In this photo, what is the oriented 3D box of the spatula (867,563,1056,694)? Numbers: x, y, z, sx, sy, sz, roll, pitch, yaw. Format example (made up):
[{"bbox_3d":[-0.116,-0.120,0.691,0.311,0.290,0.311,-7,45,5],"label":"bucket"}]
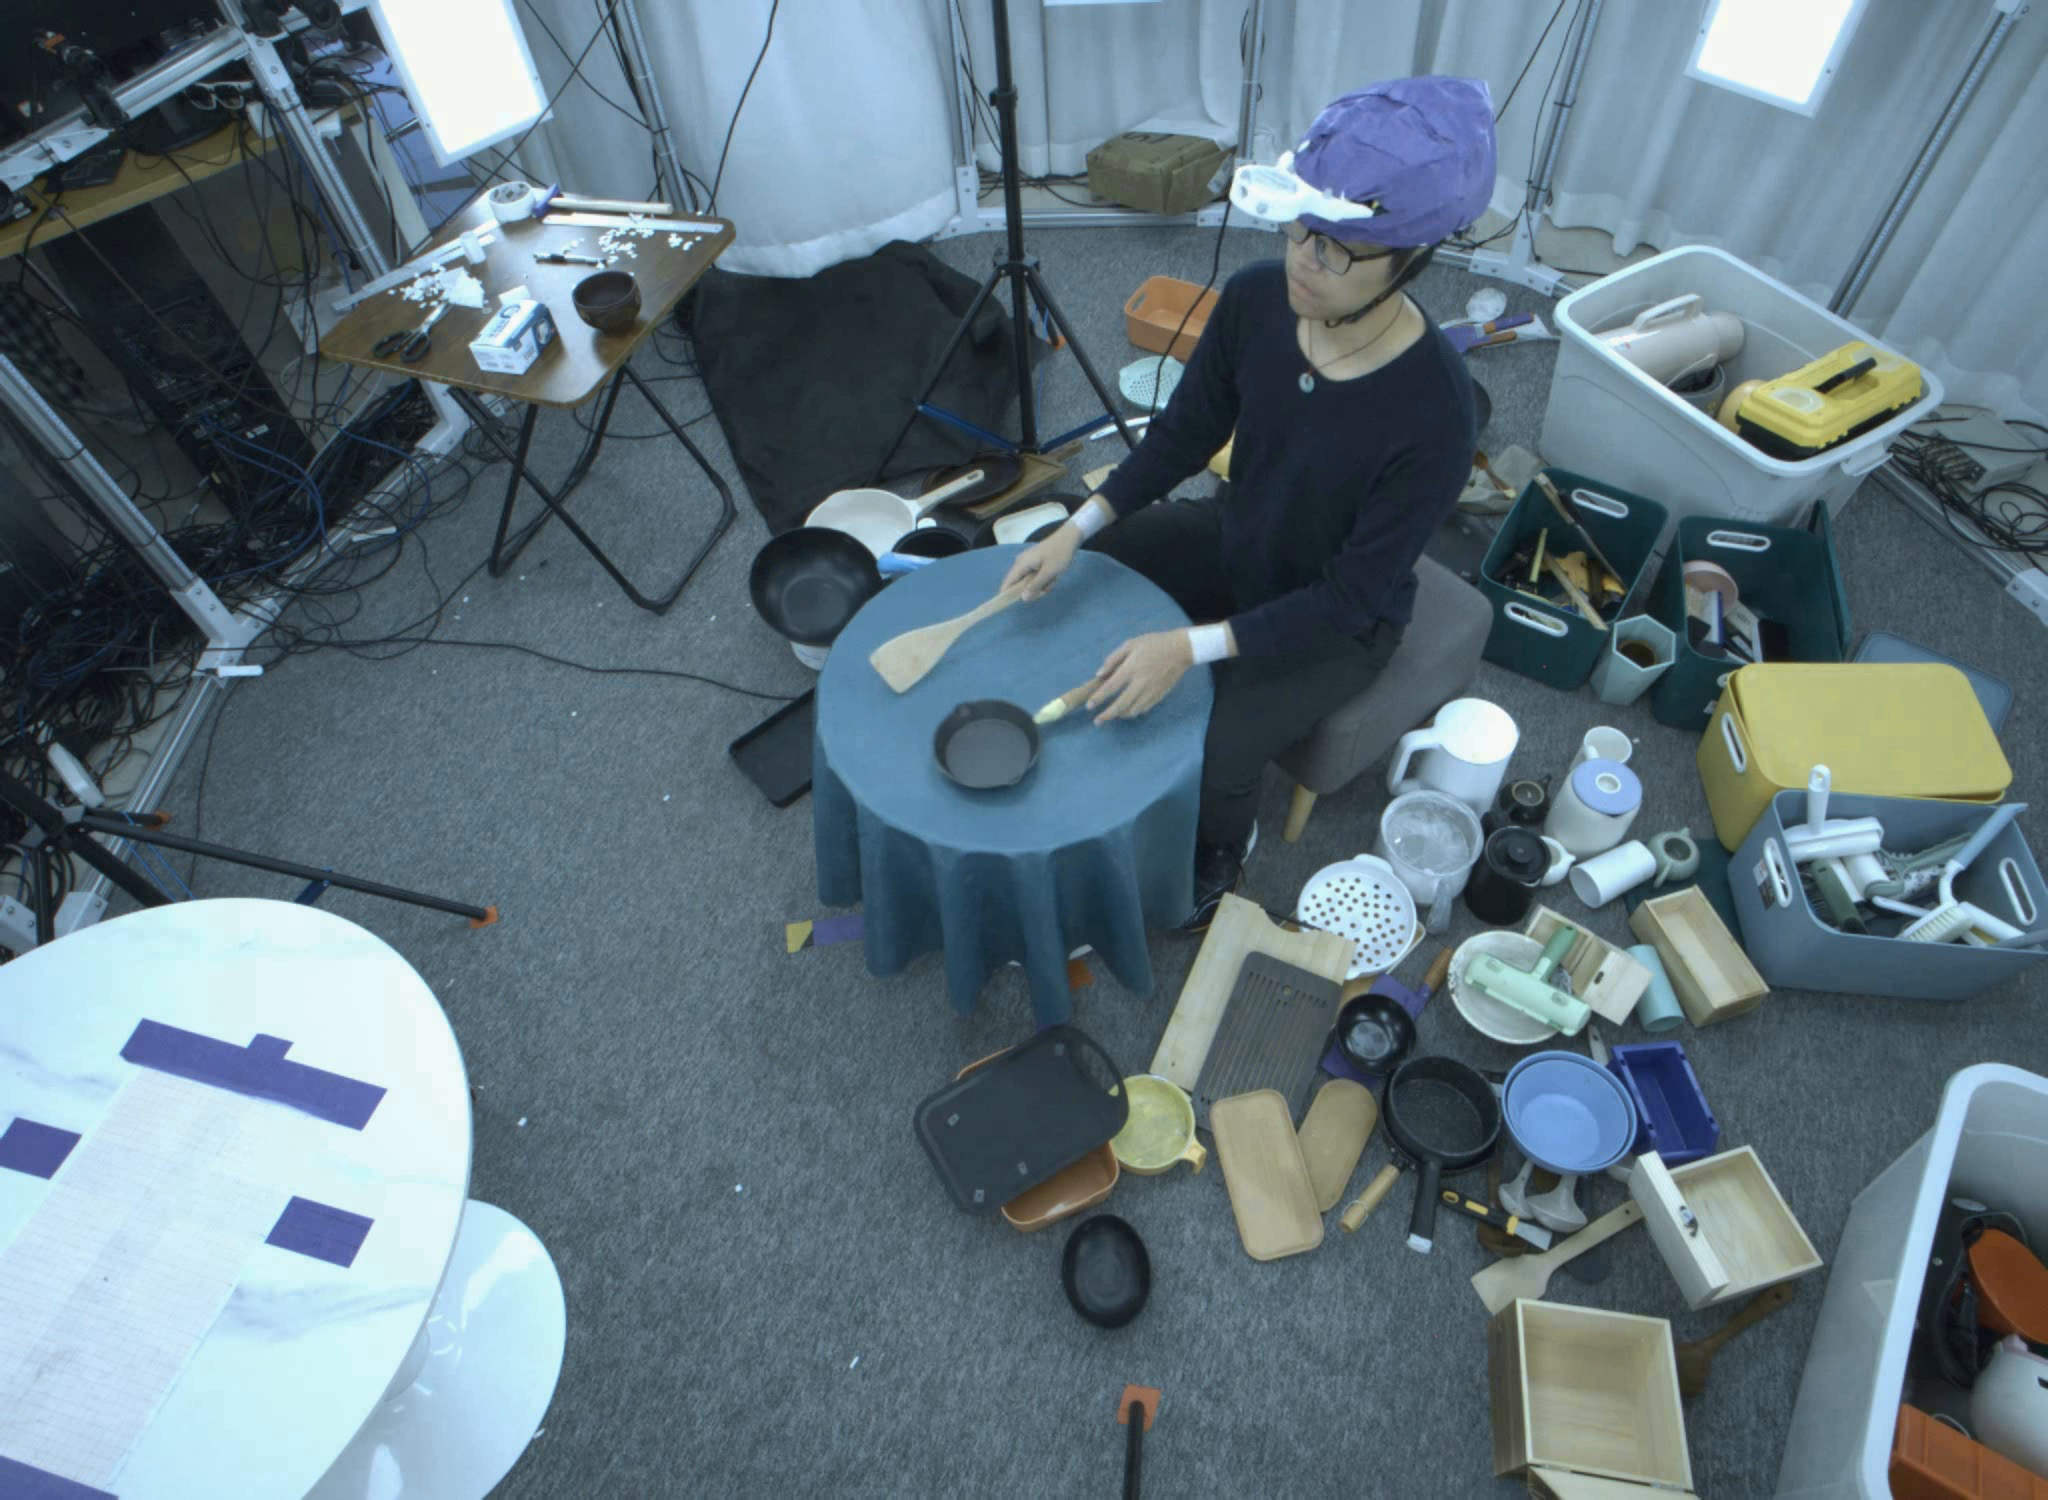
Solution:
[{"bbox_3d":[-0.086,-0.194,1.865,0.329,0.081,0.016,-33,29,-12],"label":"spatula"}]

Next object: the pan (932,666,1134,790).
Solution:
[{"bbox_3d":[0.021,-0.043,1.786,0.326,0.050,0.166,-25,58,-13],"label":"pan"}]
